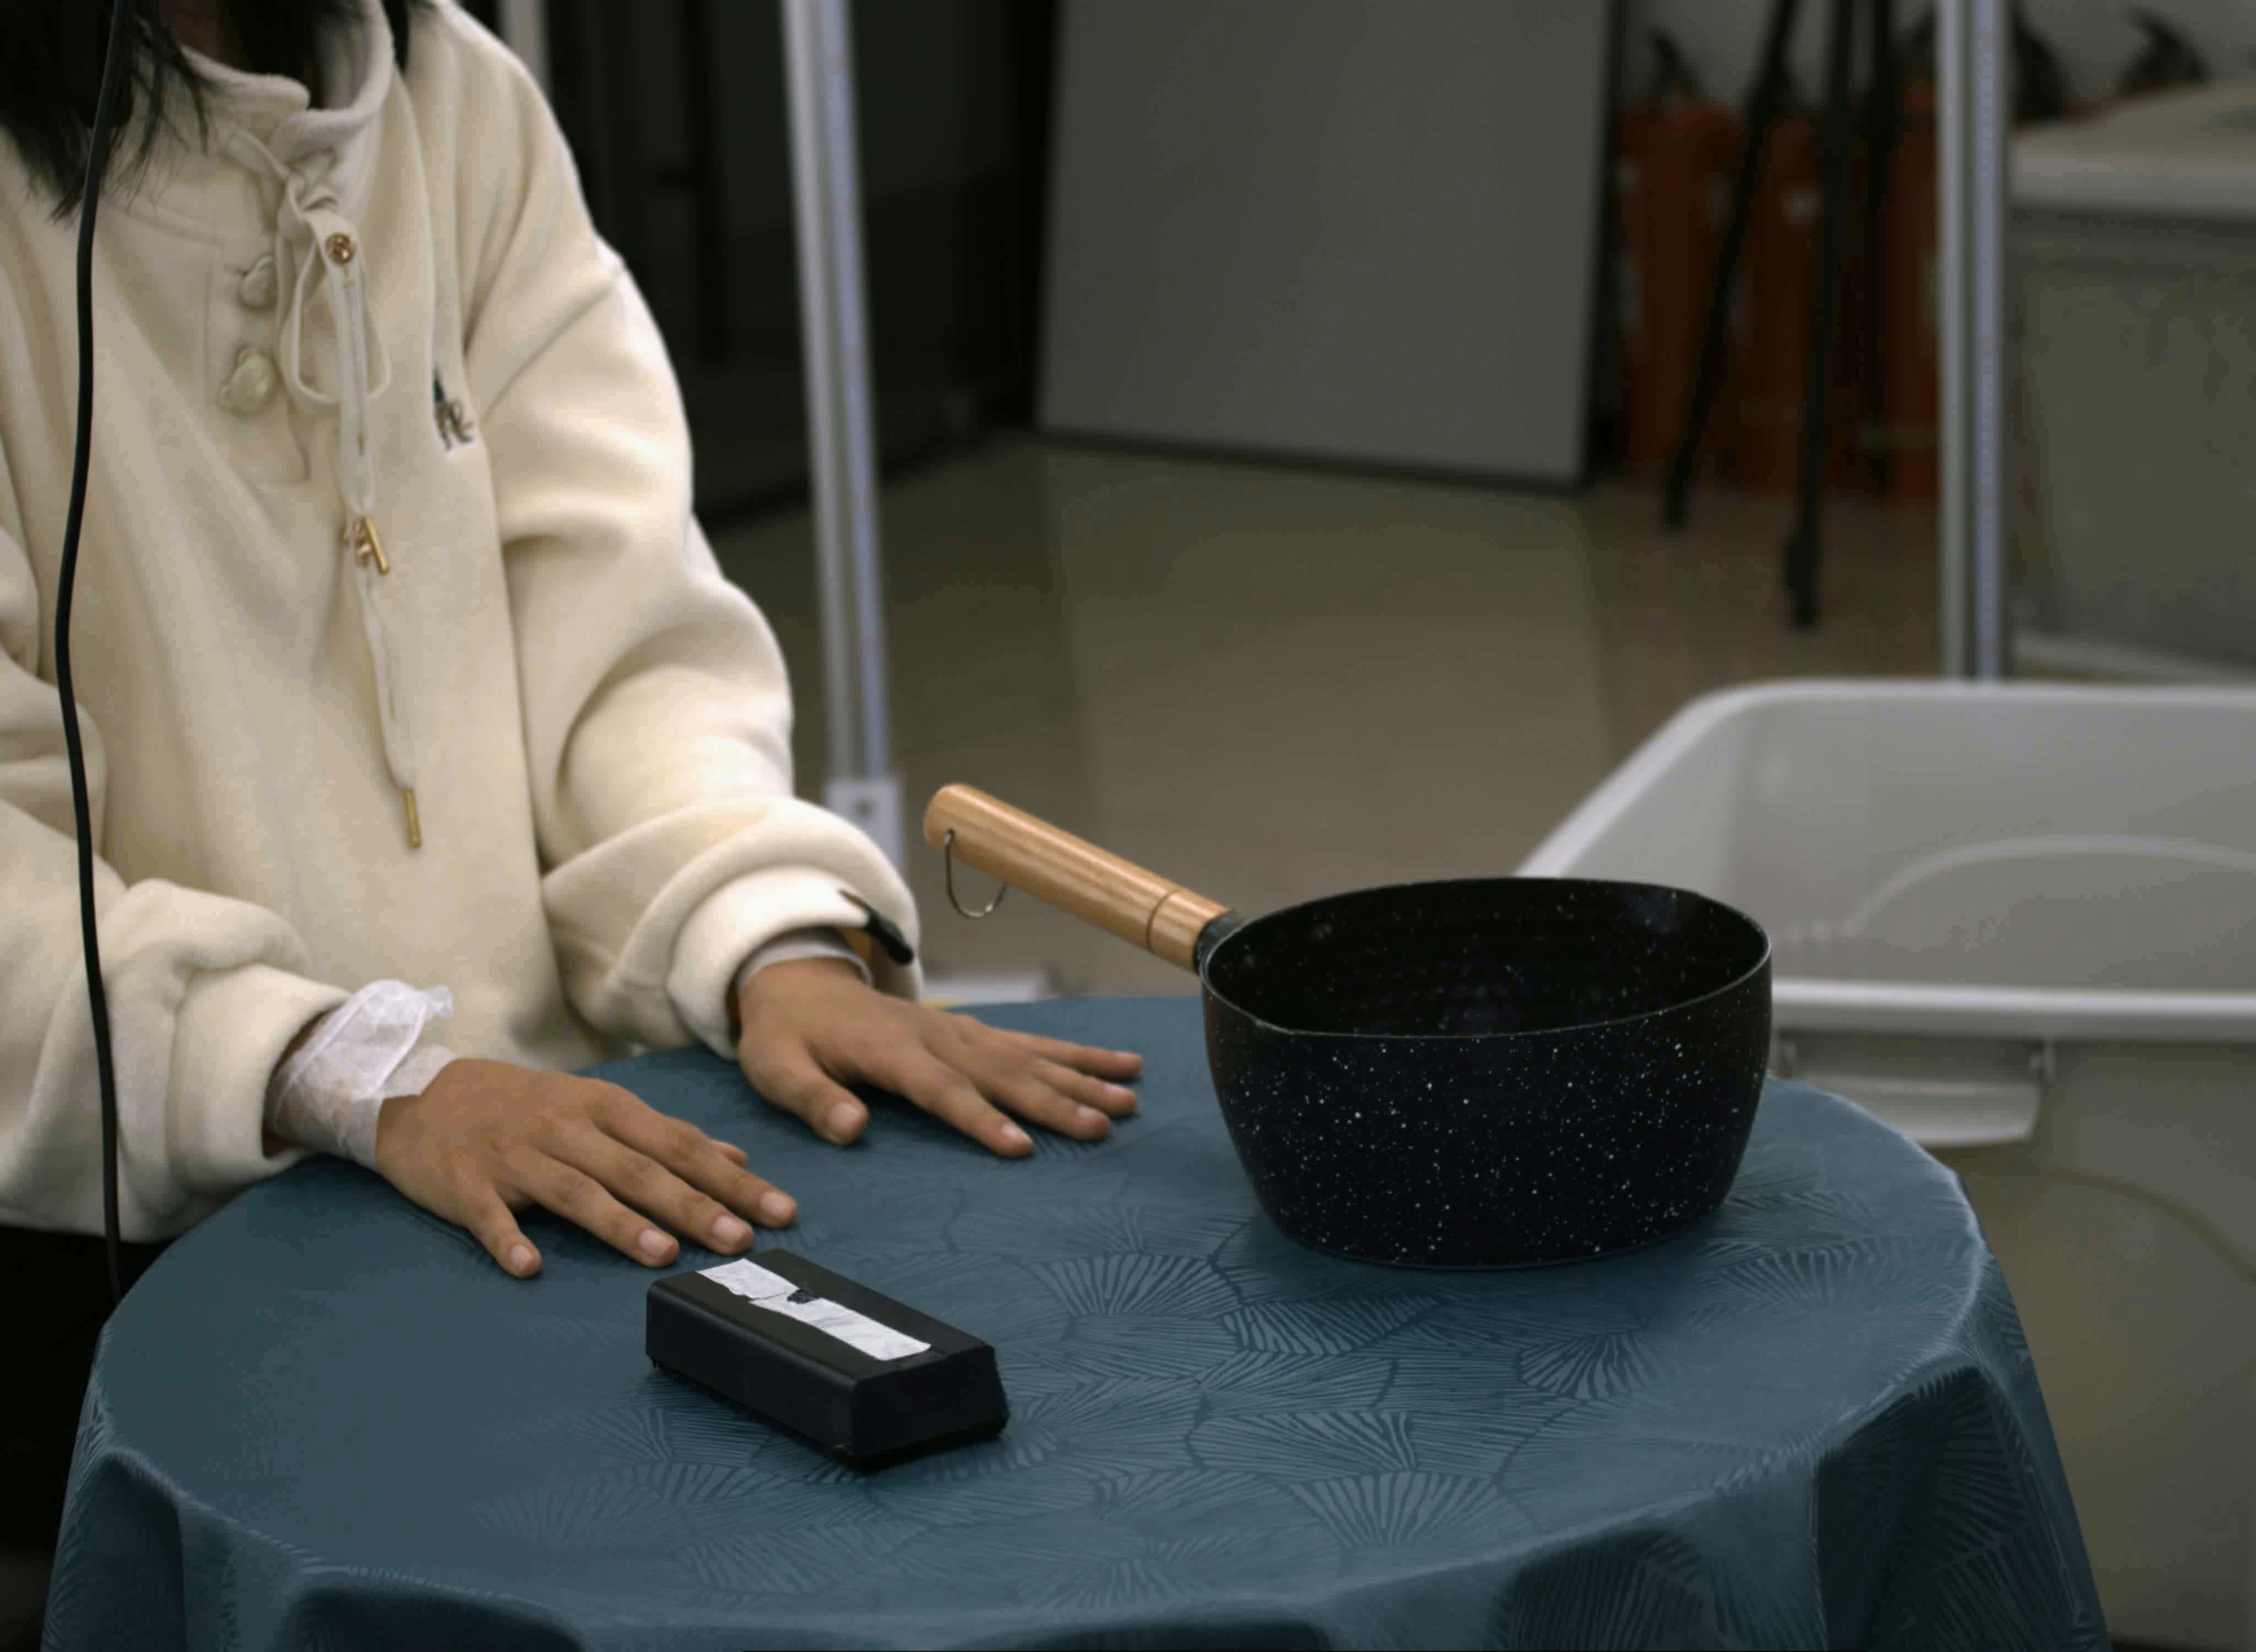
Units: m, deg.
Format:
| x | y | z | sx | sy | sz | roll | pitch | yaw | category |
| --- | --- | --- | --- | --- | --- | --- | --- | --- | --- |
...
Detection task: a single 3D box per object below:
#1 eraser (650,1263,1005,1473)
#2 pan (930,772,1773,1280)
| x | y | z | sx | sy | sz | roll | pitch | yaw | category |
| --- | --- | --- | --- | --- | --- | --- | --- | --- | --- |
| -0.088 | 0.158 | 1.589 | 0.052 | 0.031 | 0.127 | -12 | 14 | -31 | eraser |
| 0.058 | 0.059 | 1.778 | 0.346 | 0.109 | 0.203 | 11 | 21 | 43 | pan |
